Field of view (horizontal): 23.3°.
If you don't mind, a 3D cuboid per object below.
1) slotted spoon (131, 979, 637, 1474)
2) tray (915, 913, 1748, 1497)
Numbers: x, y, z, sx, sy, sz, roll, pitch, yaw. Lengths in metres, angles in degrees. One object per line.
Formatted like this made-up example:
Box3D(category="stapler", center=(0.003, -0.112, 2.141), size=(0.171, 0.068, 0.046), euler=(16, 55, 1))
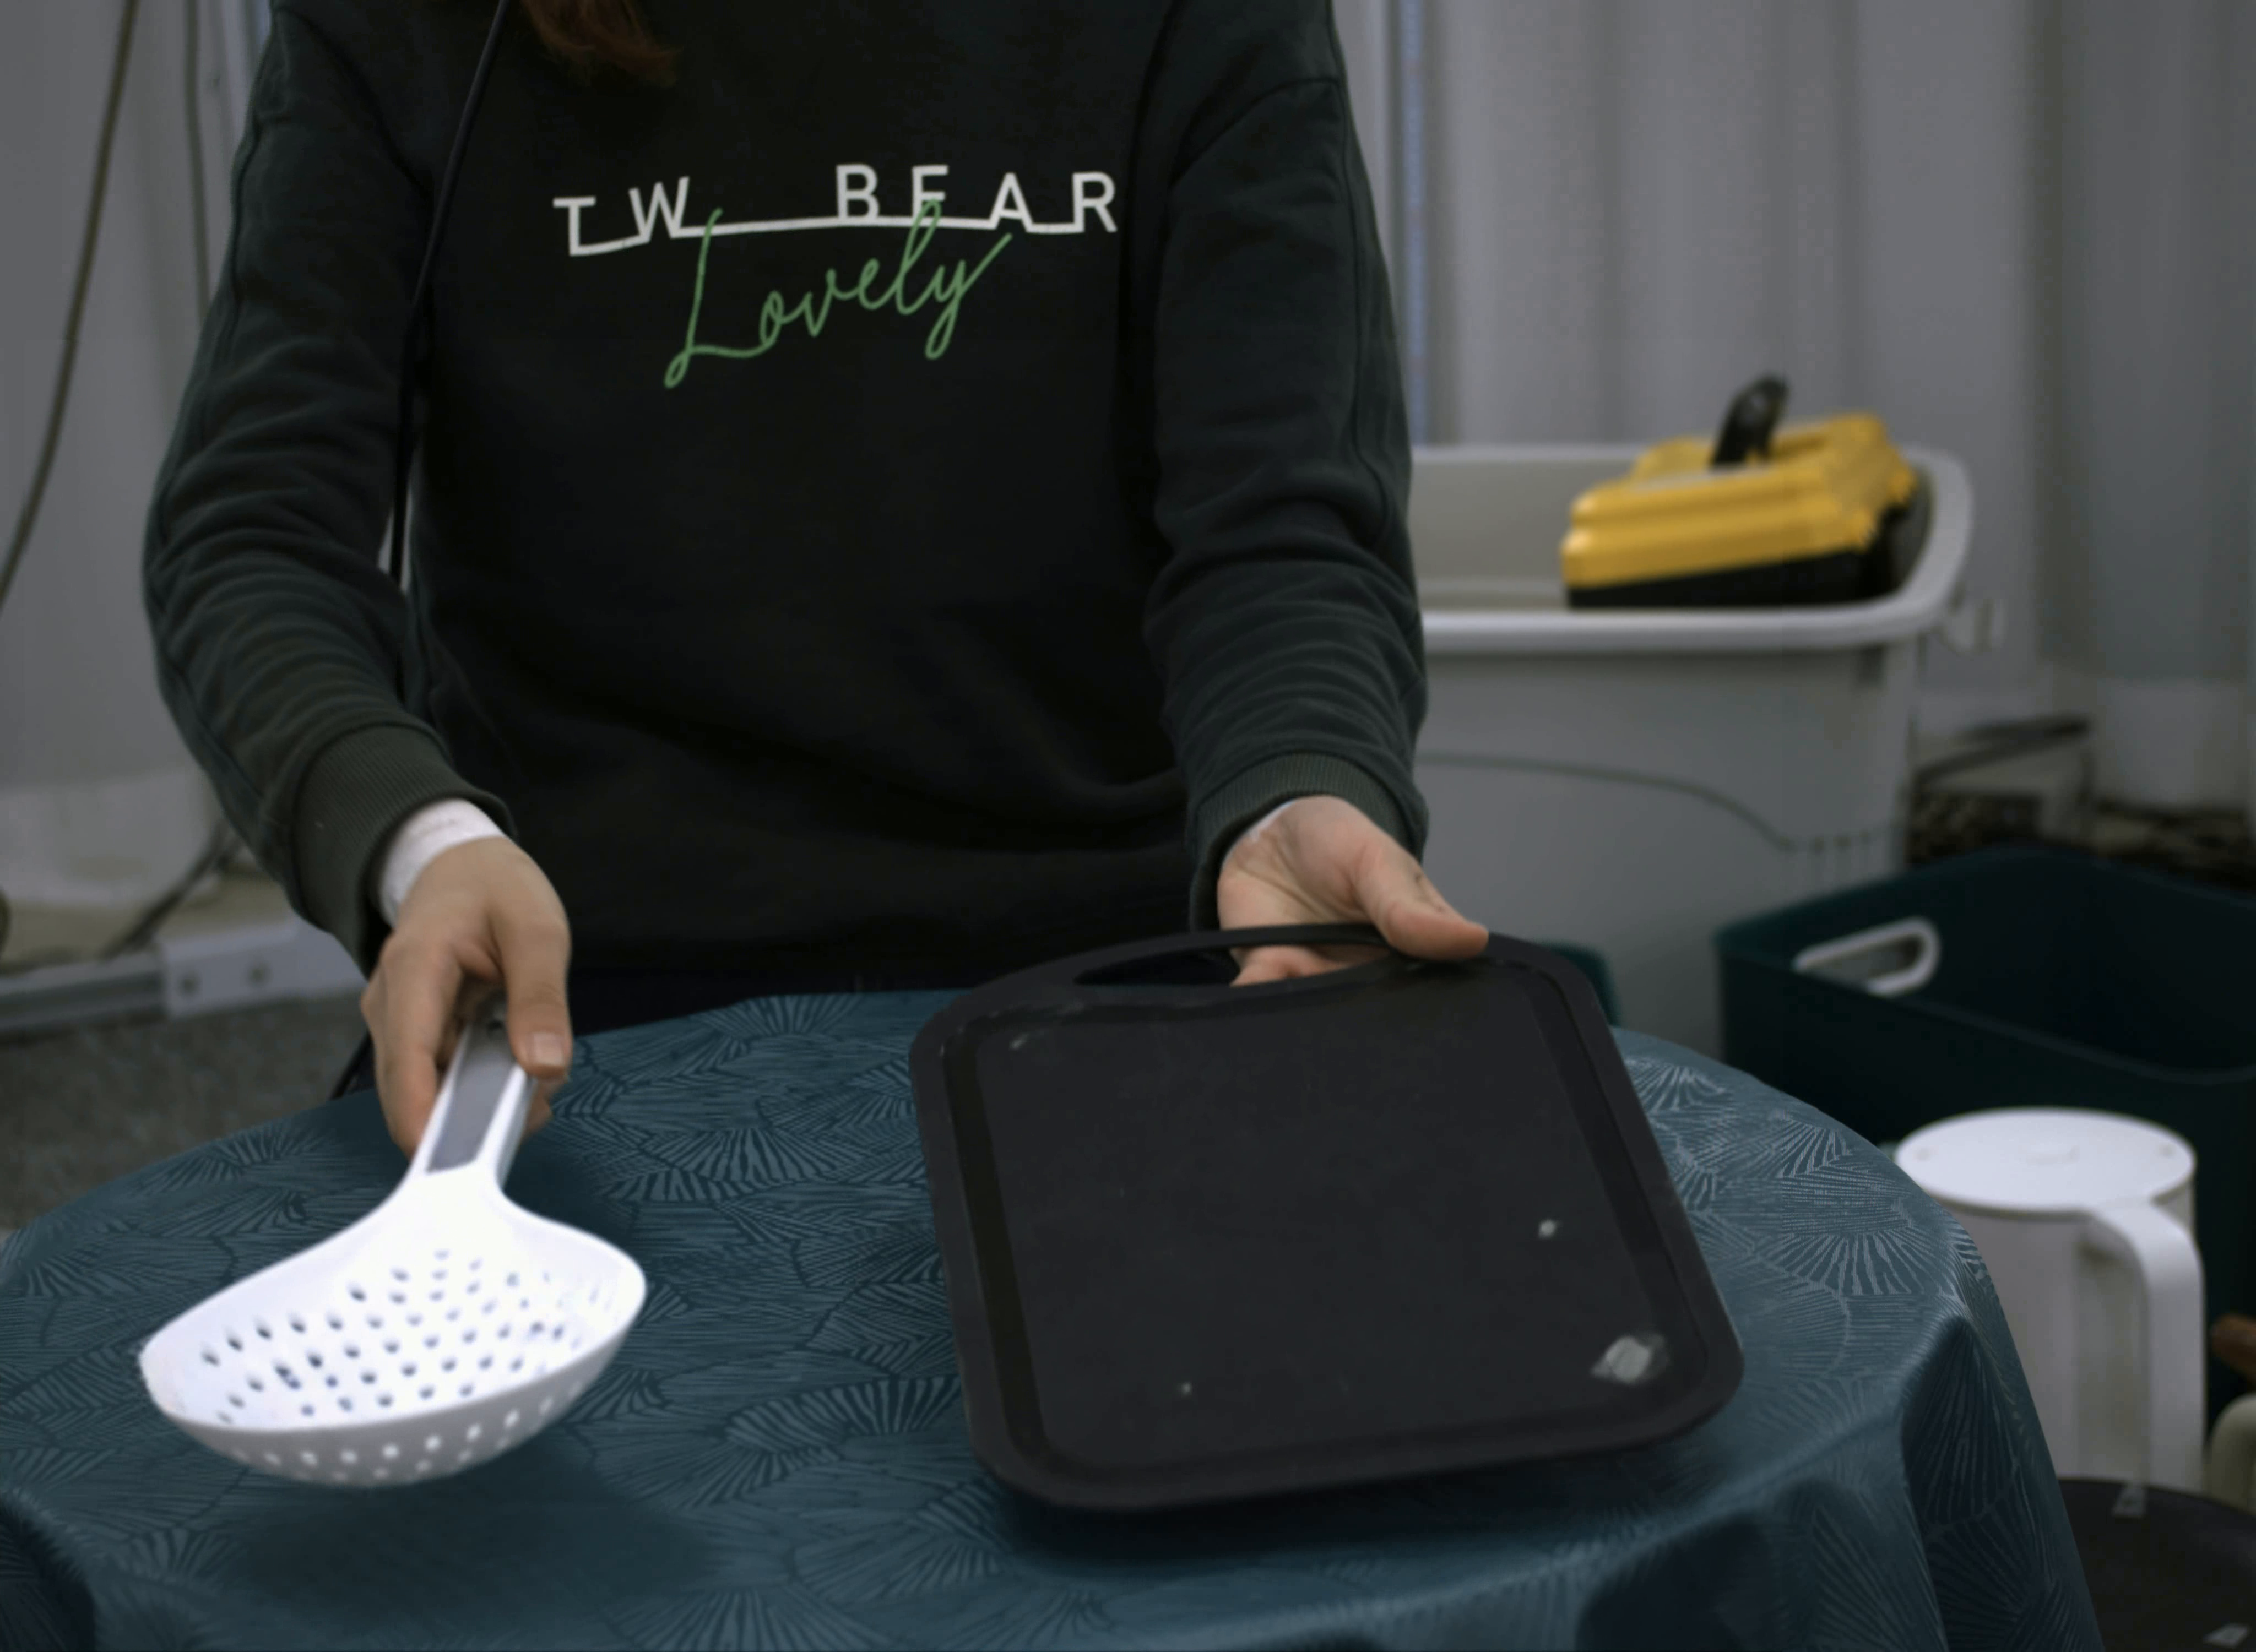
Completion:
Box3D(category="slotted spoon", center=(-0.196, 0.106, 1.560), size=(0.135, 0.045, 0.353), euler=(-7, 21, 3))
Box3D(category="tray", center=(0.049, 0.098, 1.564), size=(0.210, 0.010, 0.329), euler=(-6, 25, -4))
